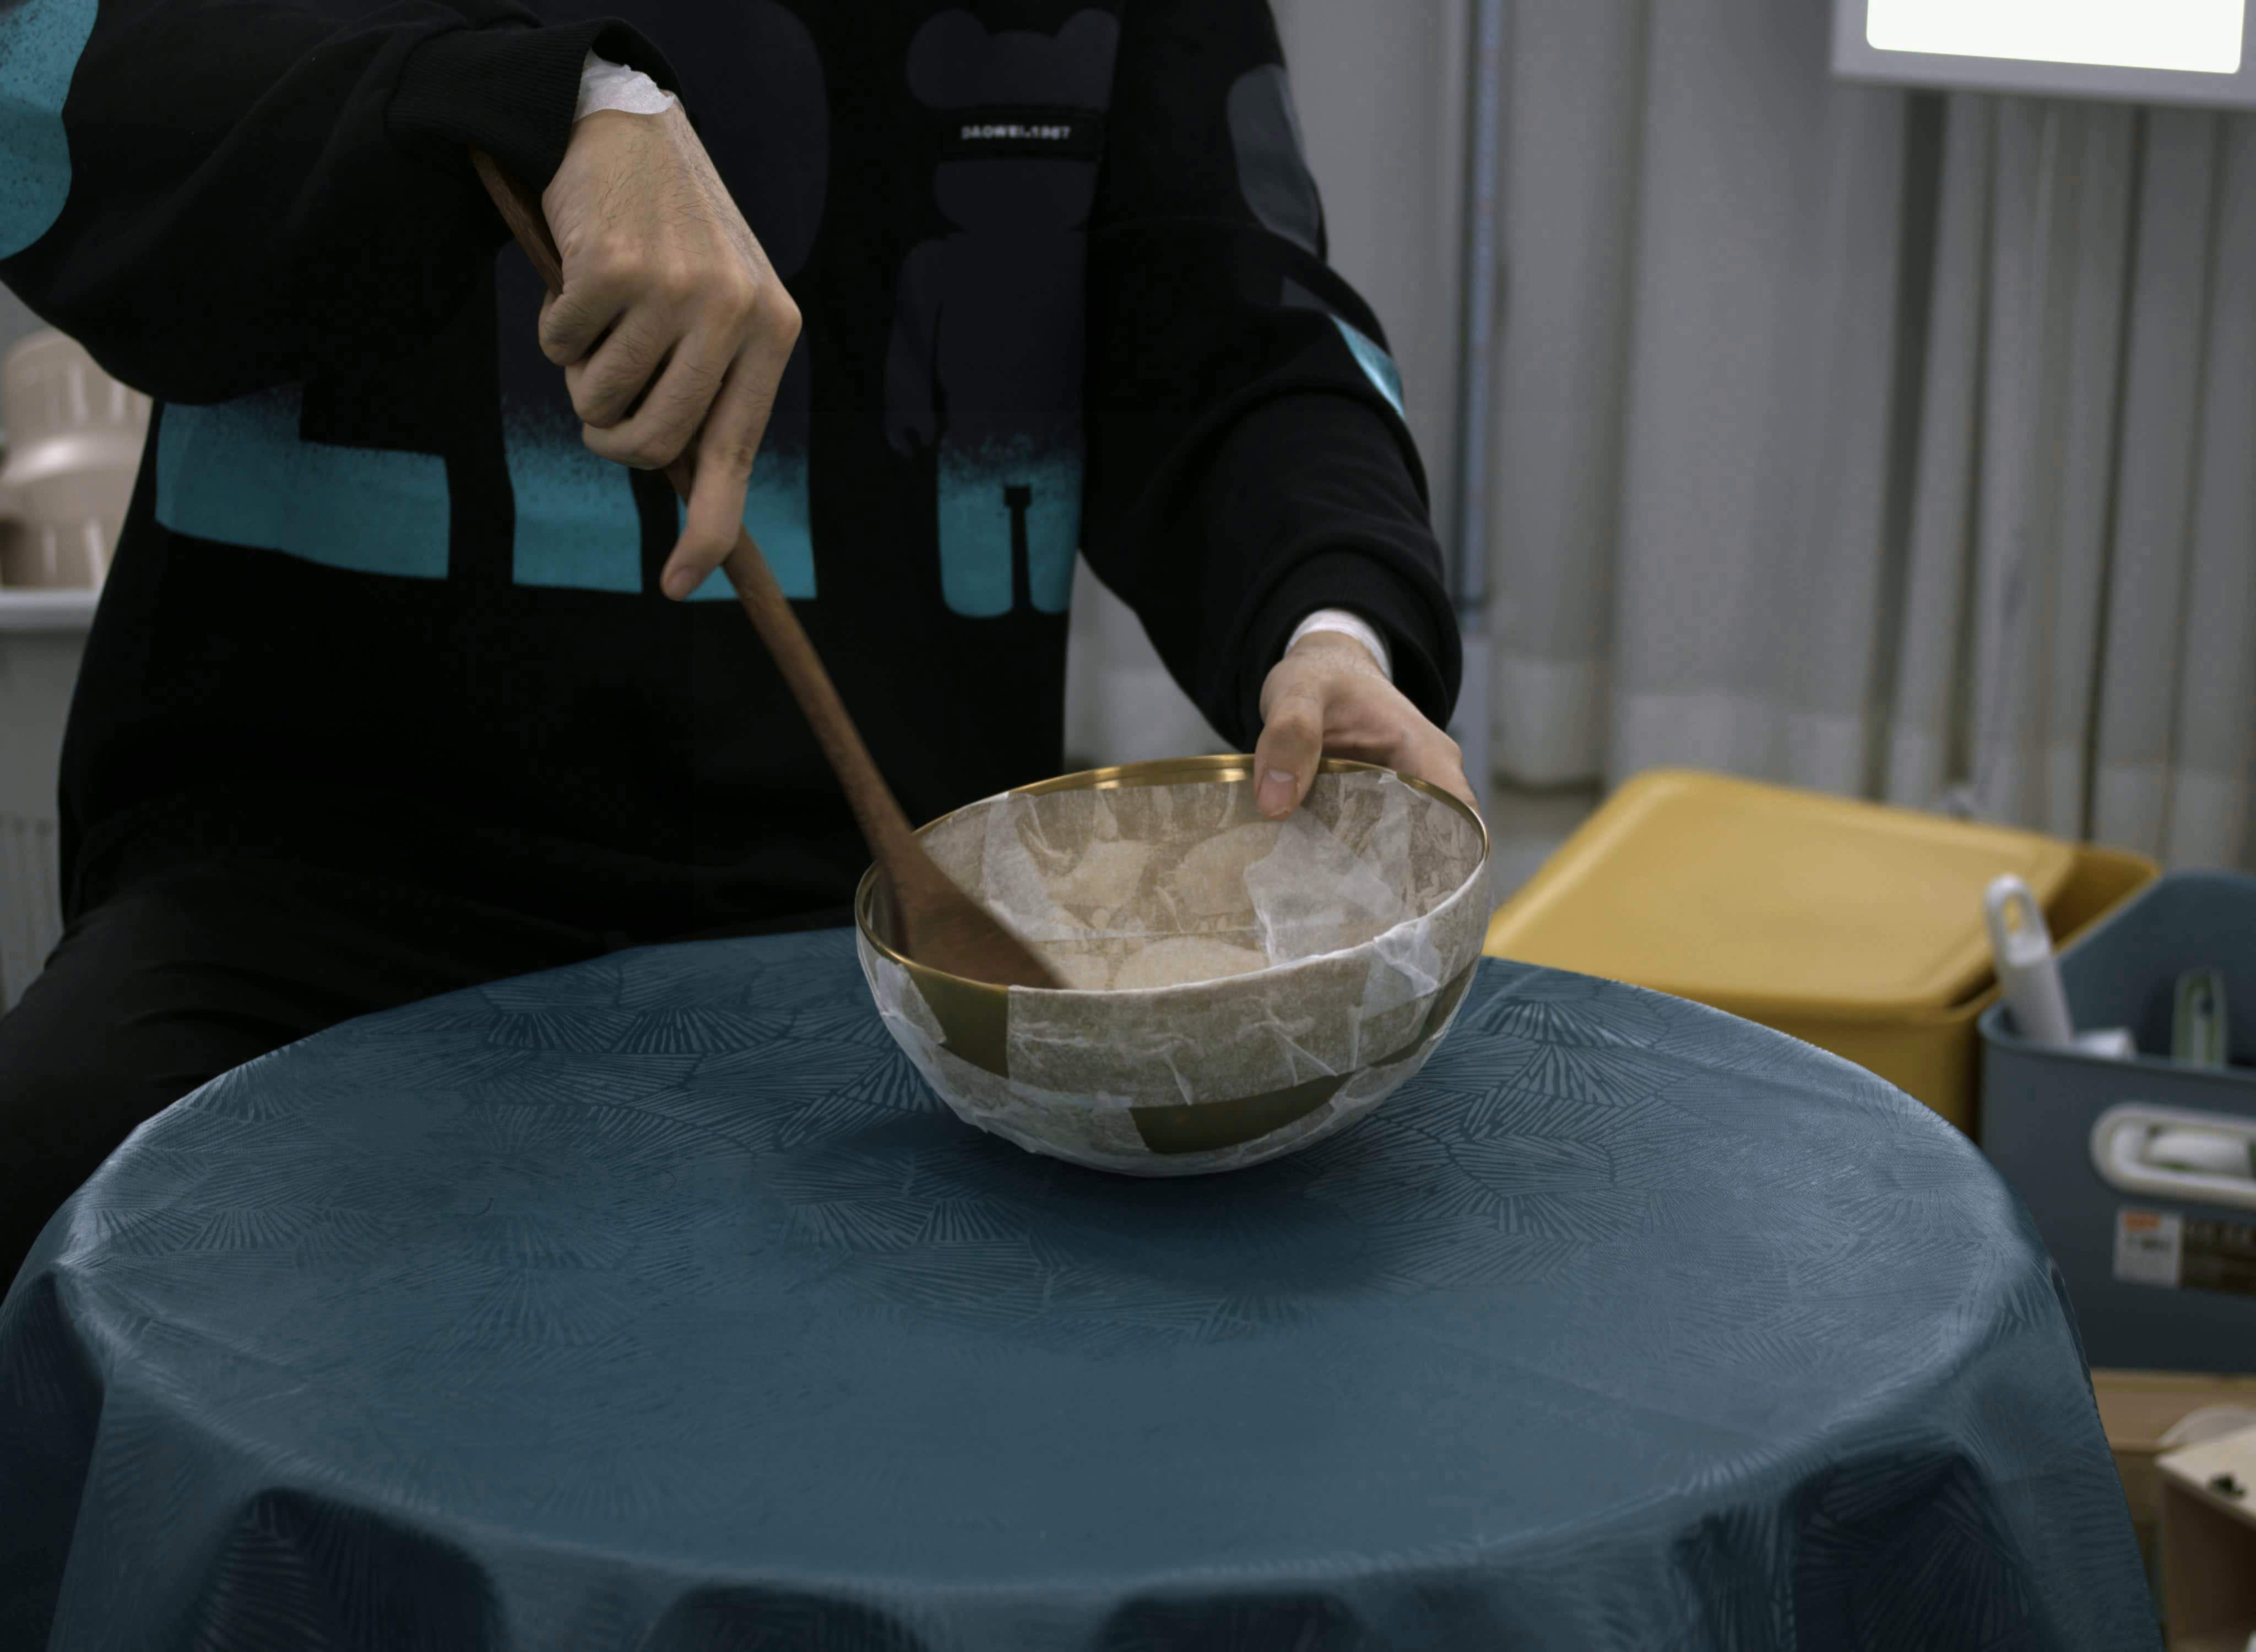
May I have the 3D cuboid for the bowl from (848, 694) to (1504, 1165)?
[{"bbox_3d":[0.019,0.044,1.658,0.214,0.095,0.213,-4,29,3],"label":"bowl"}]

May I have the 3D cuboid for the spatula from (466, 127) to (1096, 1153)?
[{"bbox_3d":[-0.109,-0.063,1.675,0.016,0.385,0.096,-33,-6,26],"label":"spatula"}]
